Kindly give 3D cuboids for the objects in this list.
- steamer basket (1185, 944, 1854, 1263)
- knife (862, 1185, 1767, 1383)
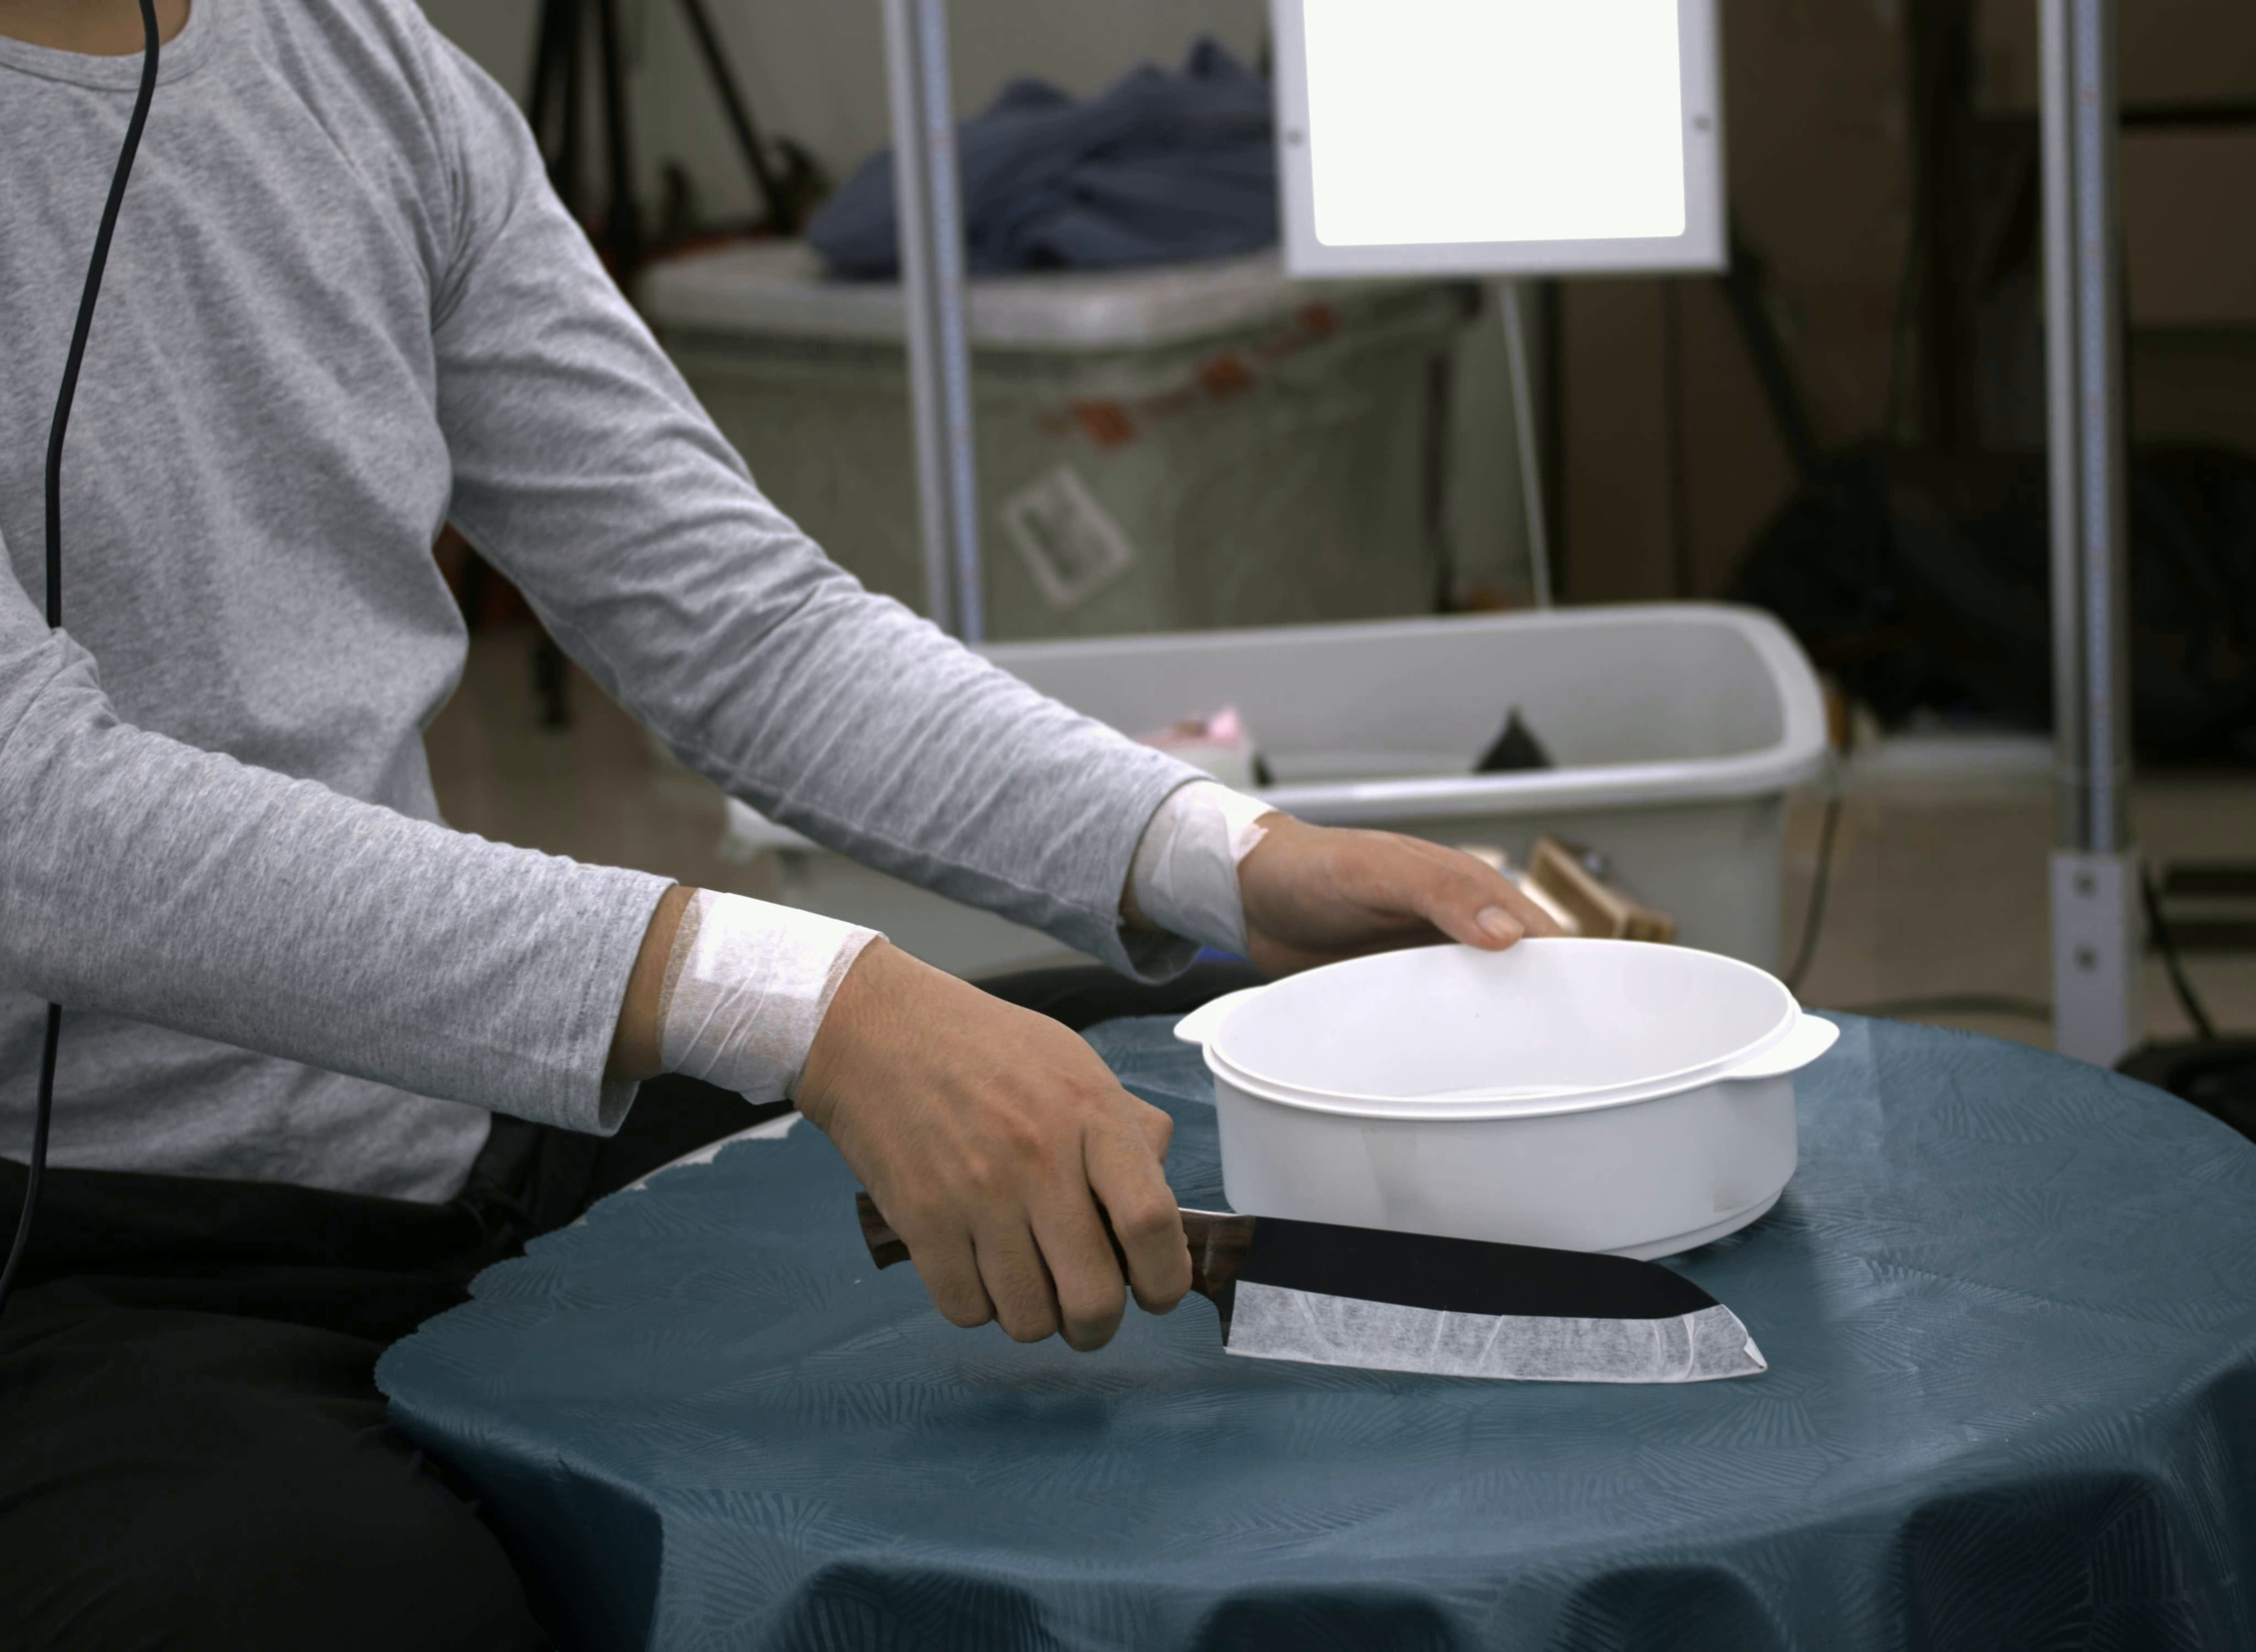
[{"bbox_3d":[0.132,0.096,1.840,0.235,0.069,0.197,2,15,29],"label":"steamer basket"},{"bbox_3d":[0.055,0.142,1.701,0.291,0.050,0.020,7,-14,15],"label":"knife"}]
